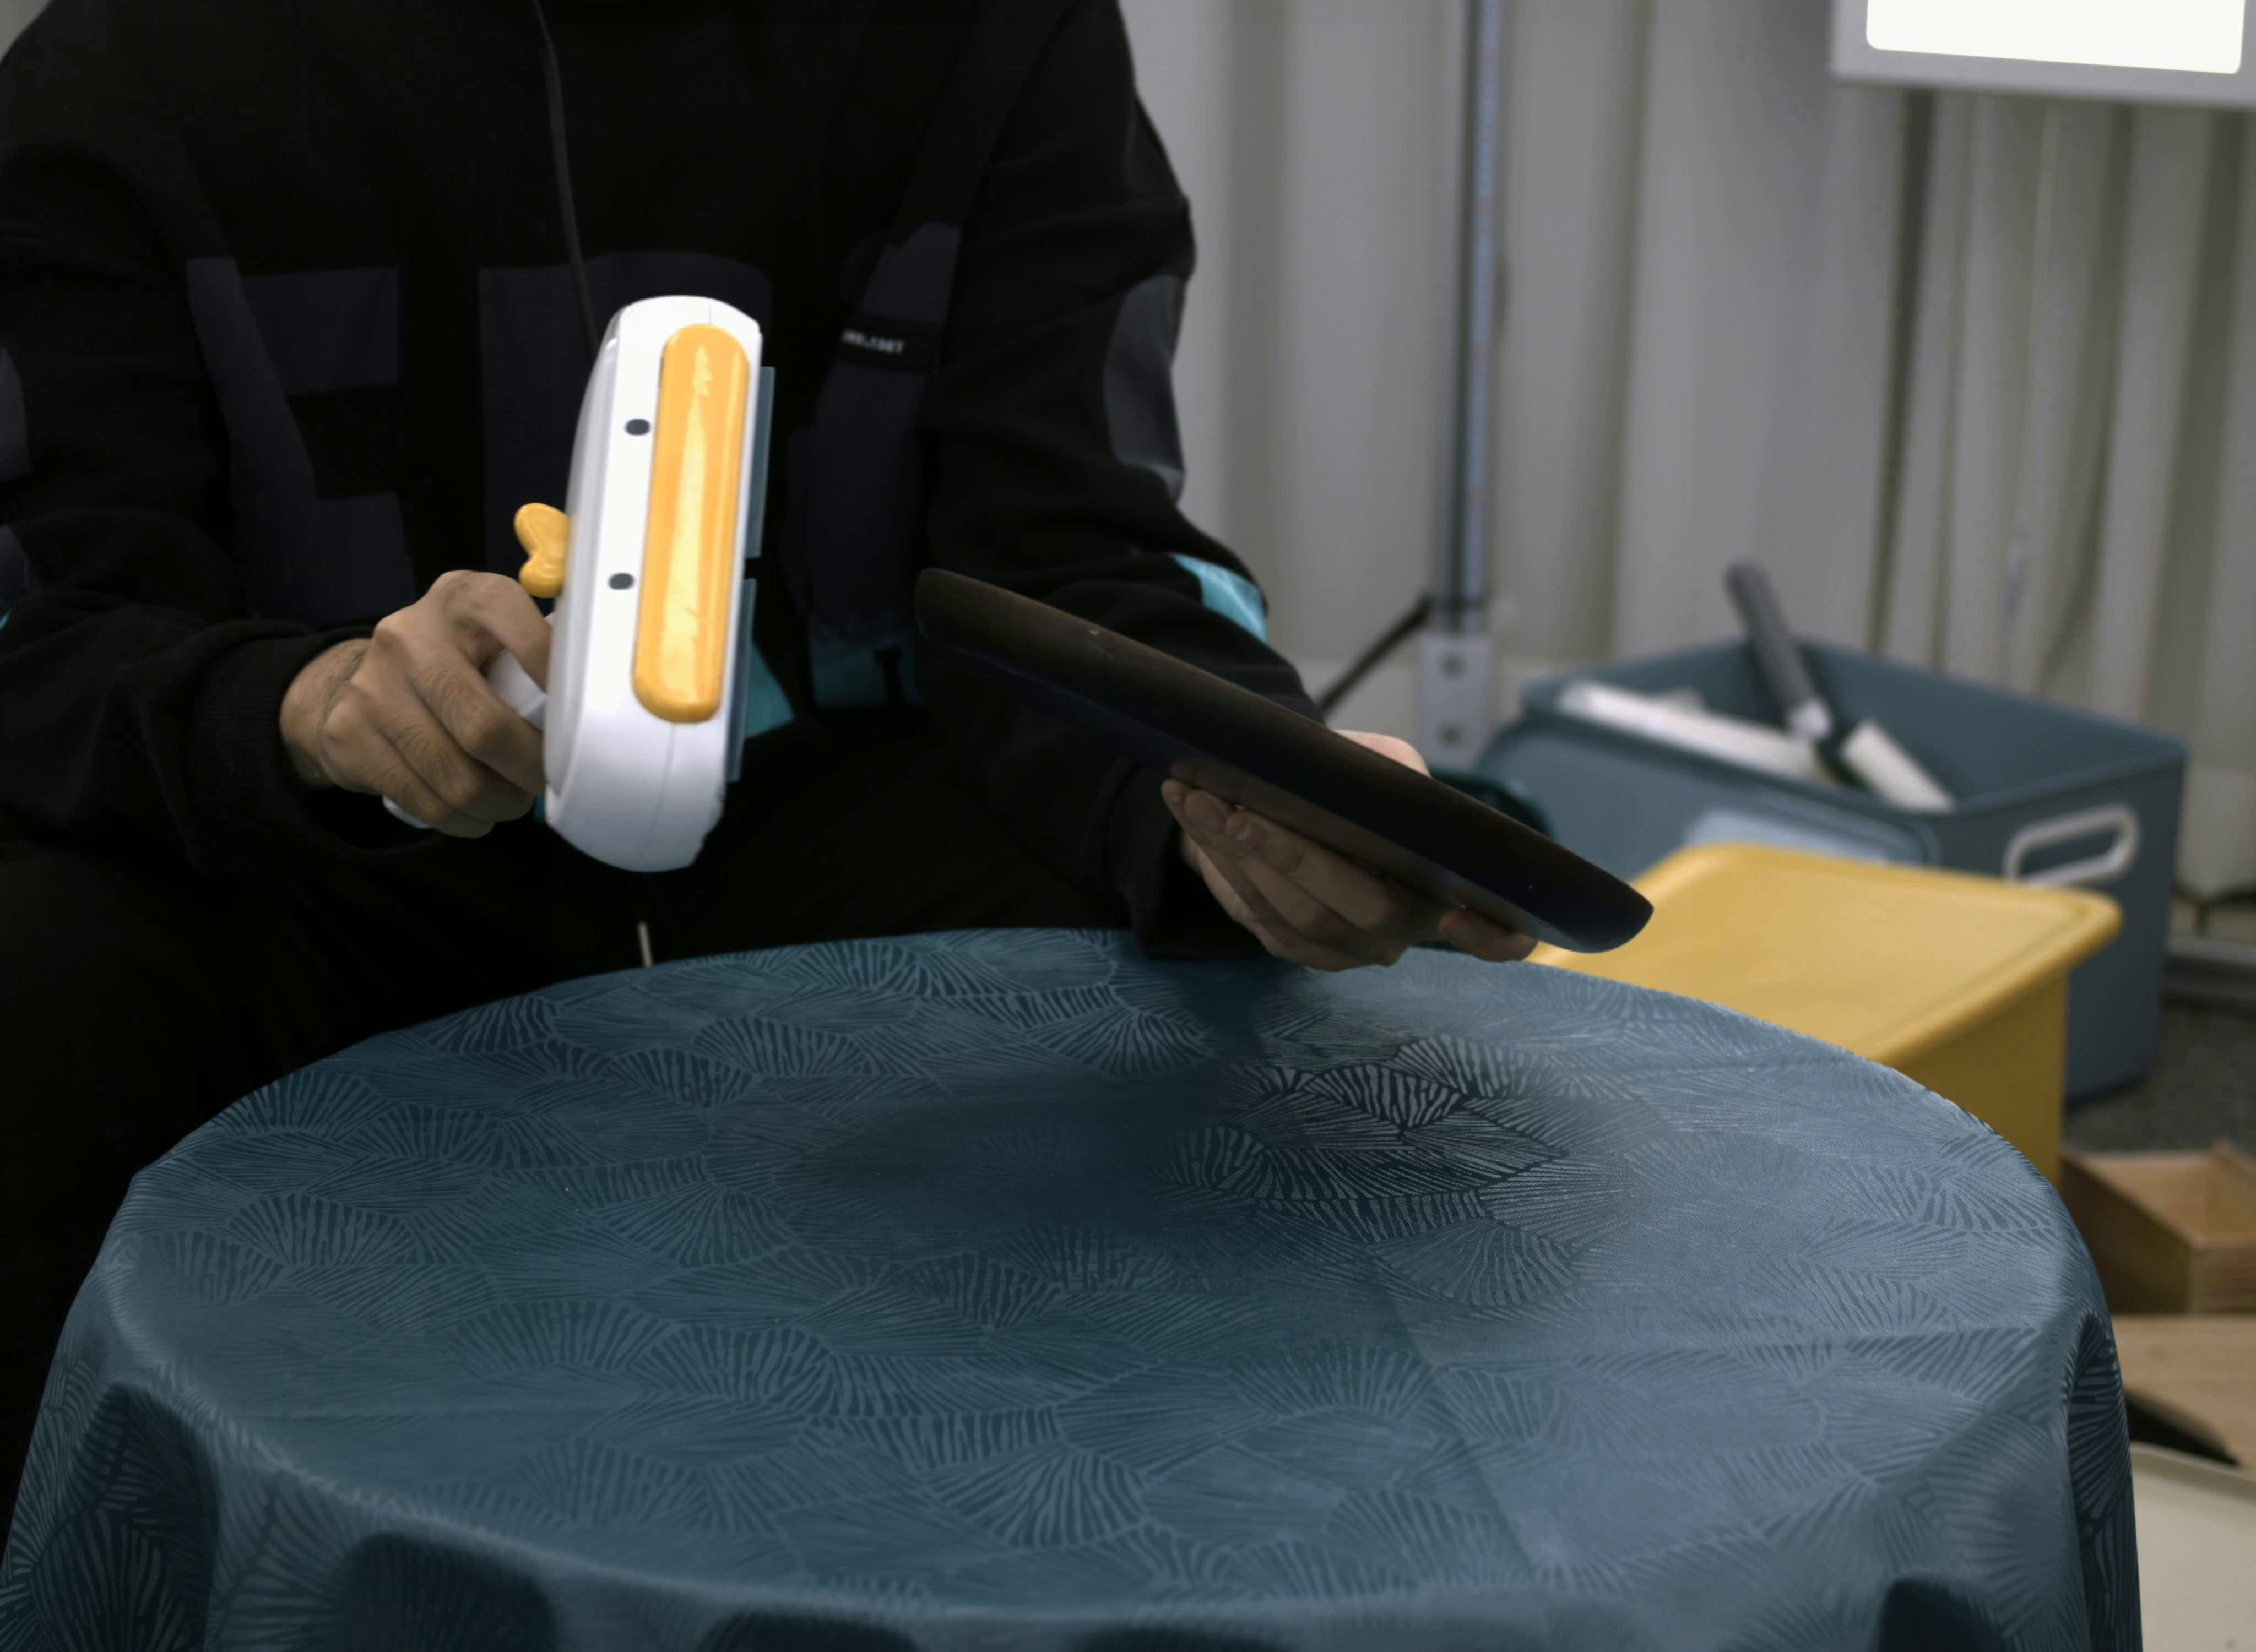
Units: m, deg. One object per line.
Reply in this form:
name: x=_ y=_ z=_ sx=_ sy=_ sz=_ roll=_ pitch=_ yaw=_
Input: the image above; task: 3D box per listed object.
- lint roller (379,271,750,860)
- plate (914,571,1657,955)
lint roller: x=-0.176 y=-0.052 z=1.631 sx=0.074 sy=0.193 sz=0.191 roll=12 pitch=52 yaw=-22
plate: x=0.046 y=-0.018 z=1.640 sx=0.254 sy=0.029 sz=0.255 roll=26 pitch=-5 yaw=3
